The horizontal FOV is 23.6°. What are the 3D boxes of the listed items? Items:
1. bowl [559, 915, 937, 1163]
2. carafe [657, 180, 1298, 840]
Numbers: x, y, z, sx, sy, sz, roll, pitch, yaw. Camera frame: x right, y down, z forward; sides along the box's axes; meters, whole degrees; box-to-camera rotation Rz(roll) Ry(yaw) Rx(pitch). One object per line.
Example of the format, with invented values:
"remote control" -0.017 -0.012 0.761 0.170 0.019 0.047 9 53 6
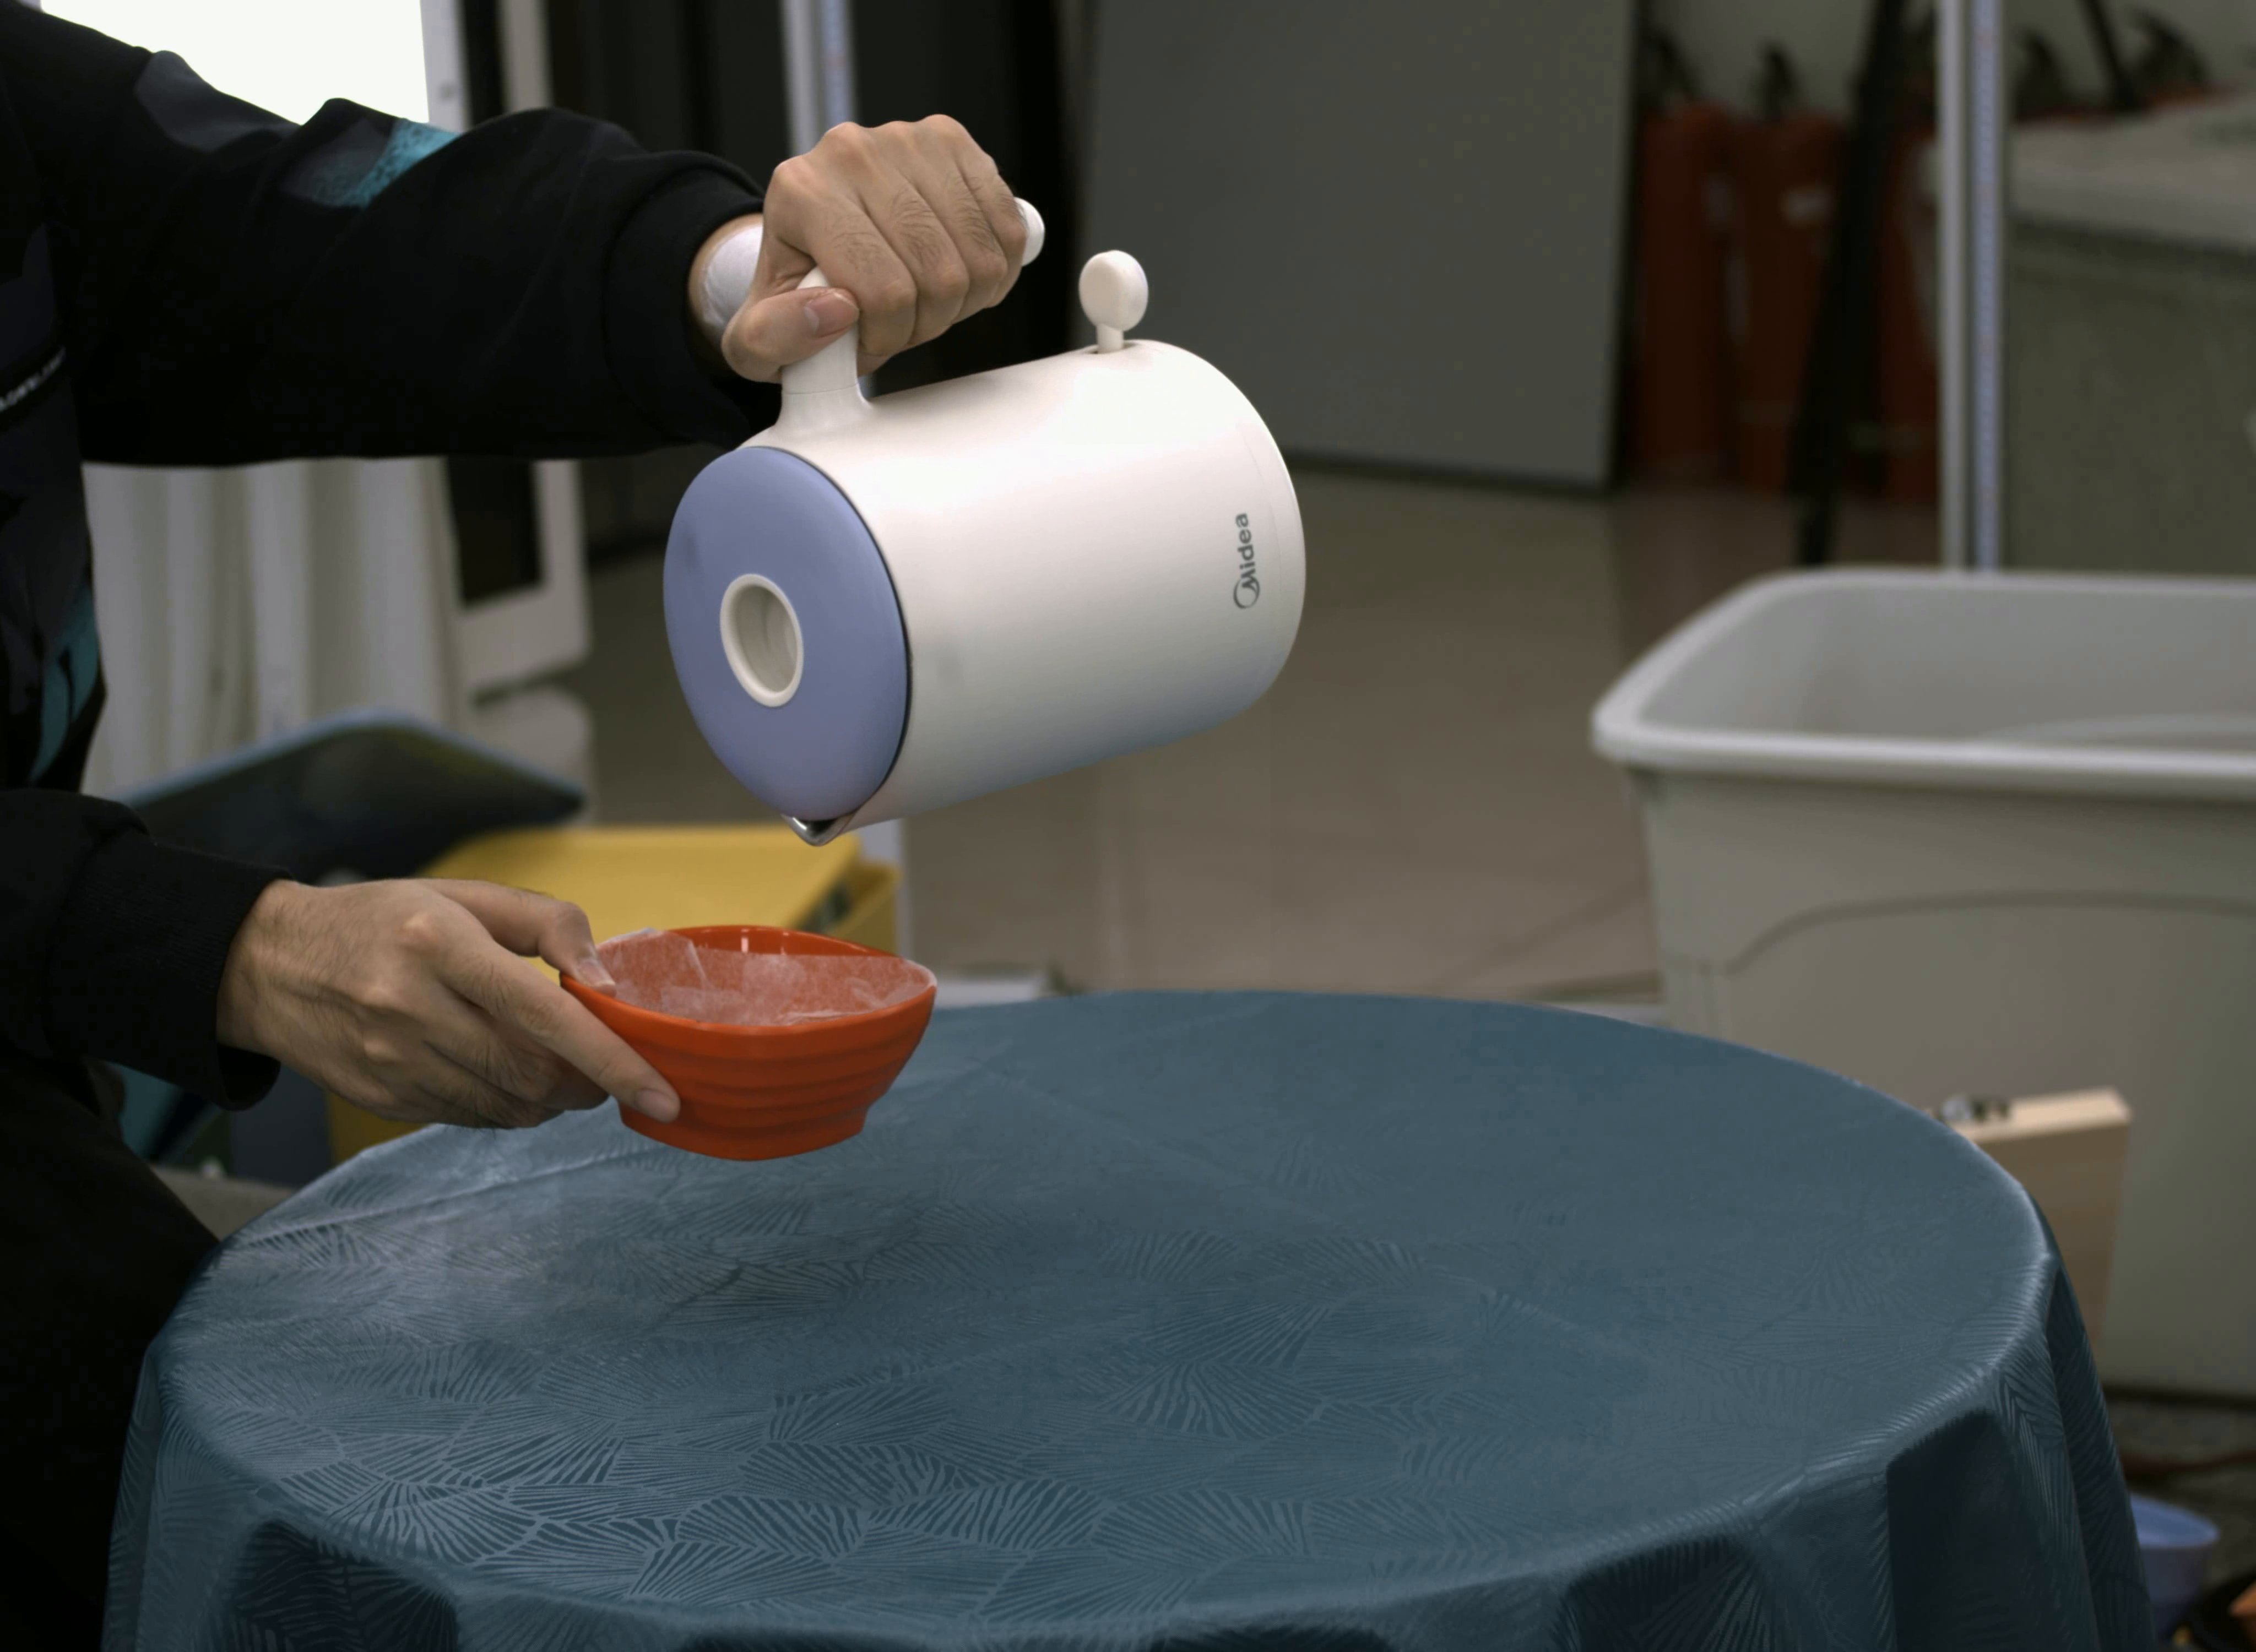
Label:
"bowl" -0.119 0.068 1.686 0.117 0.052 0.119 3 16 -2
"carafe" -0.049 -0.104 1.706 0.178 0.193 0.133 -13 11 -40
